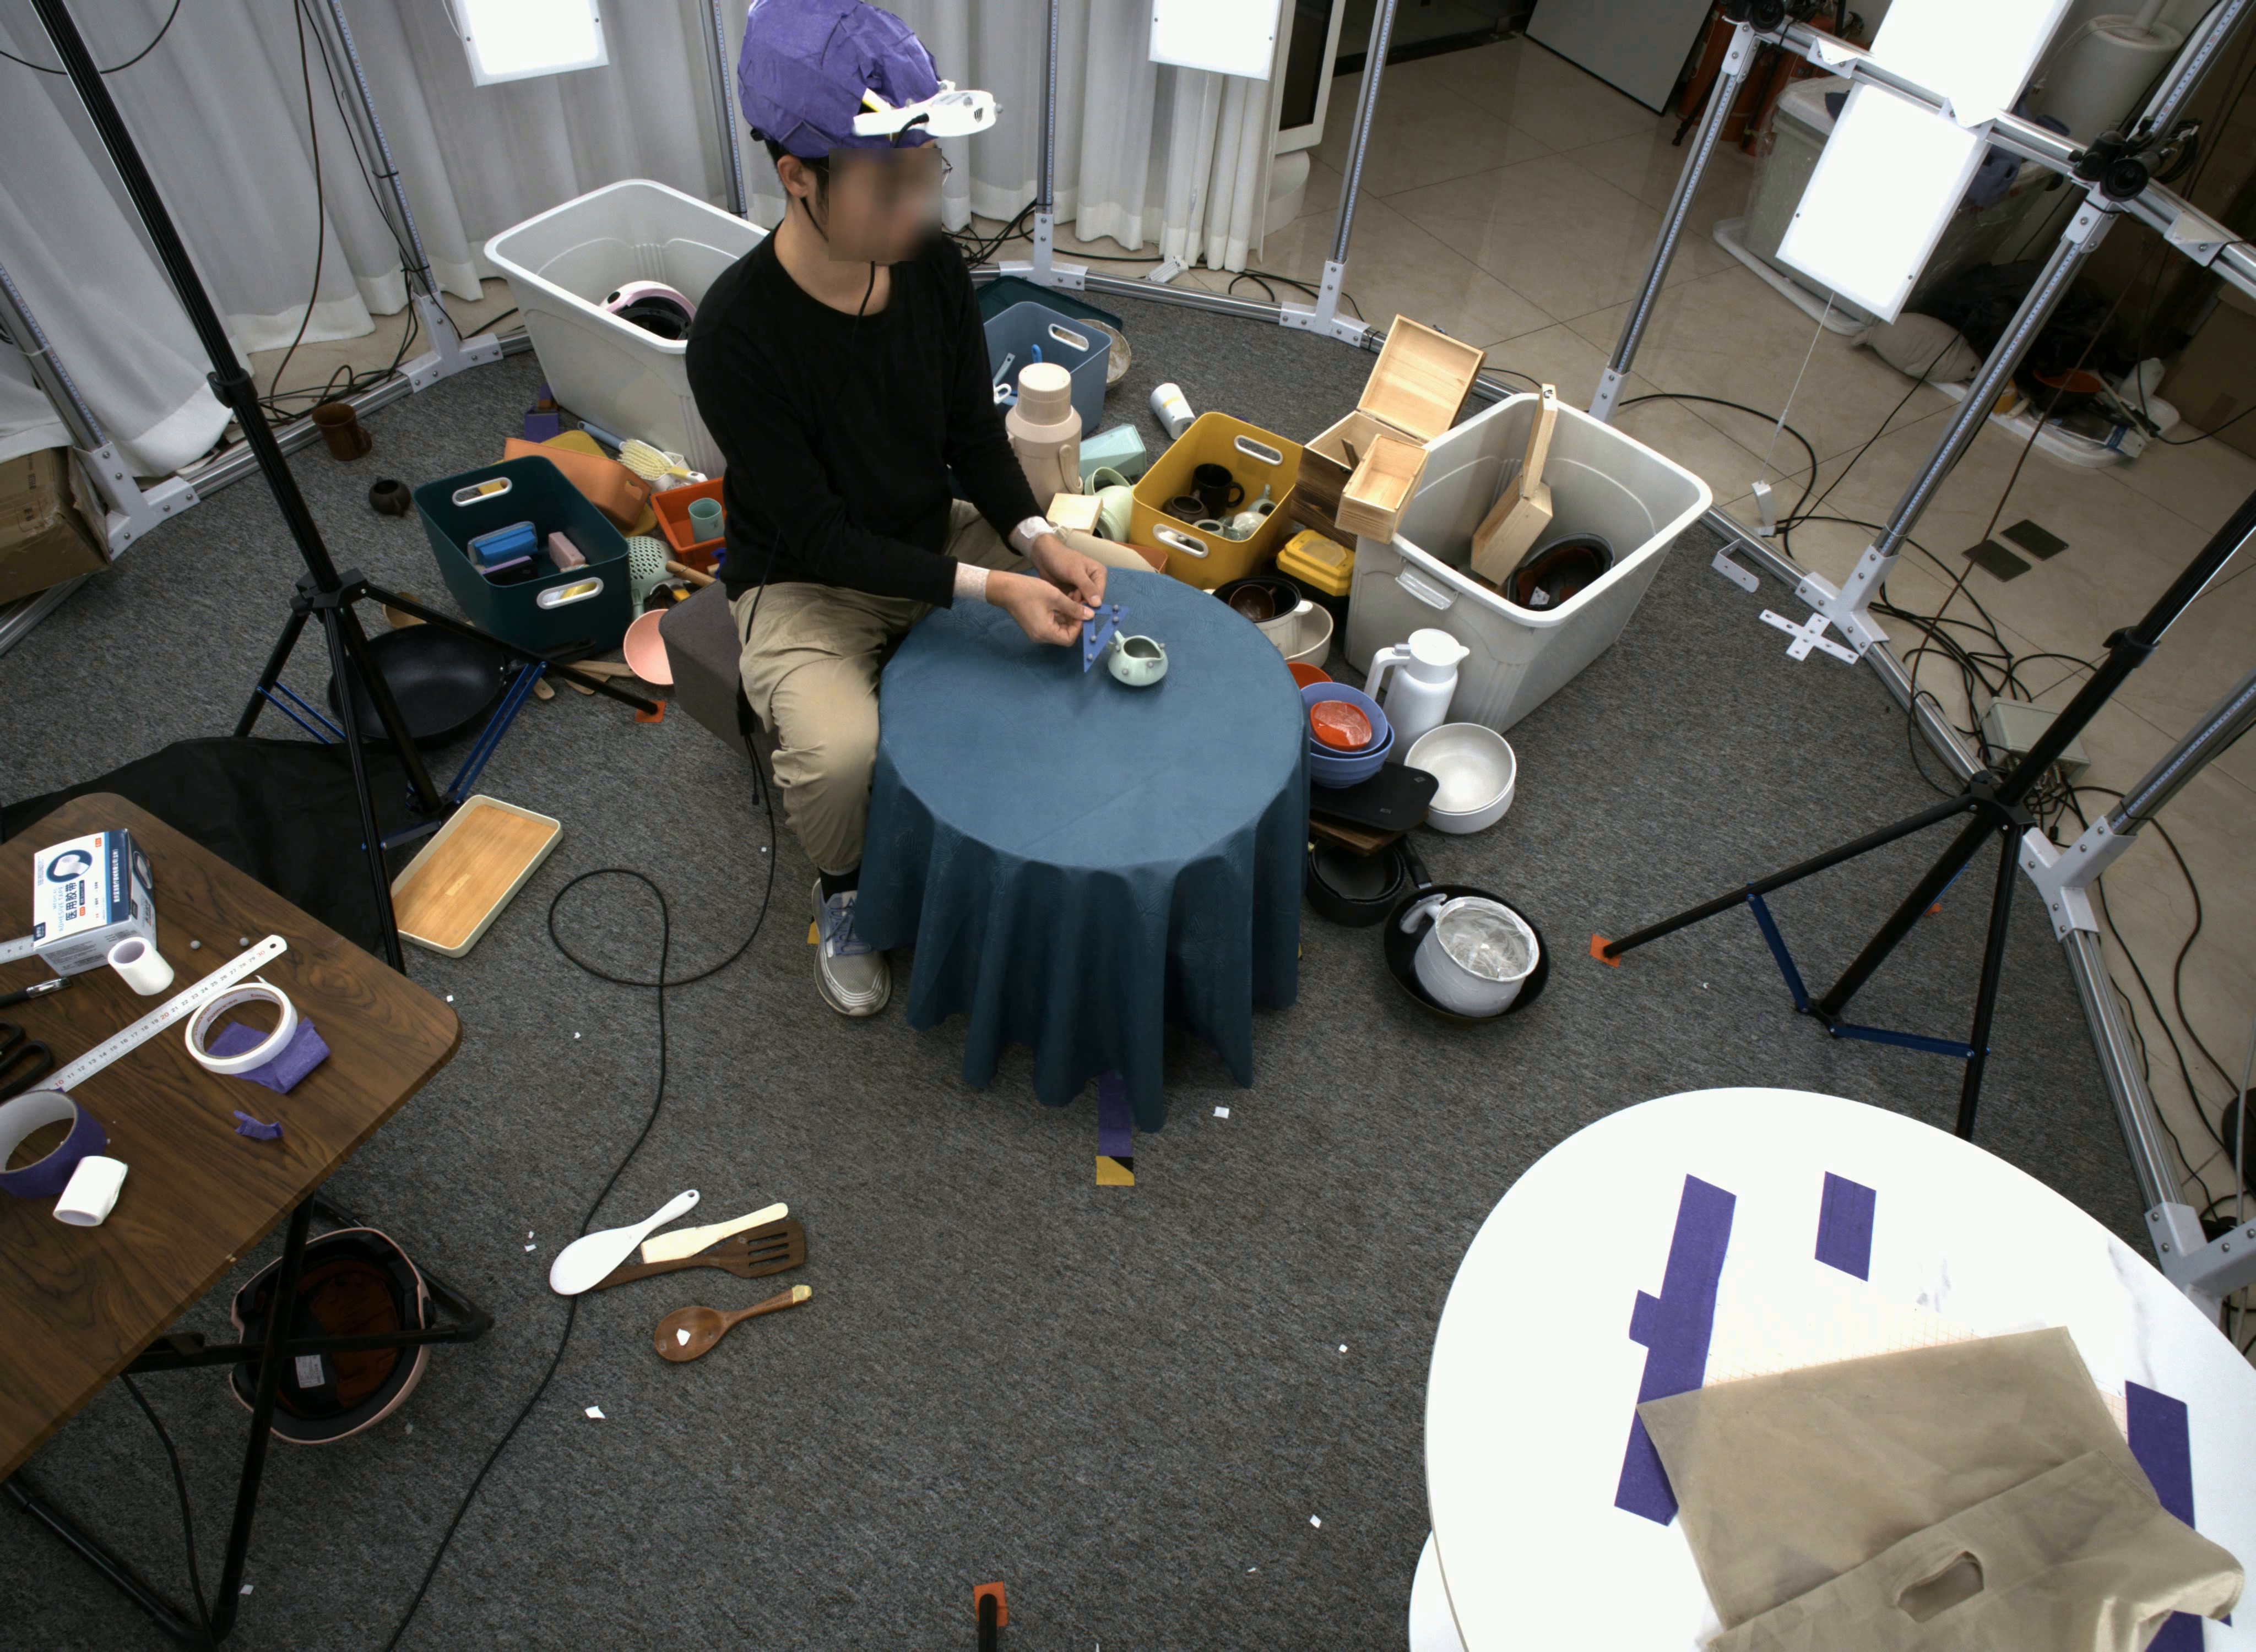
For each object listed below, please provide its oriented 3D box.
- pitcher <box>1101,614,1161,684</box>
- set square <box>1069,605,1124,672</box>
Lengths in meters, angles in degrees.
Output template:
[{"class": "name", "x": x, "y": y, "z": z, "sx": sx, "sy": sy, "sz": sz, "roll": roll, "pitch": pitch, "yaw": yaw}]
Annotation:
[{"class": "pitcher", "x": -0.001, "y": -0.256, "z": 1.848, "sx": 0.086, "sy": 0.059, "sz": 0.109, "roll": -33, "pitch": 76, "yaw": -17}, {"class": "set square", "x": -0.062, "y": -0.275, "z": 1.820, "sx": 0.061, "sy": 0.006, "sz": 0.134, "roll": 33, "pitch": 60, "yaw": 7}]
